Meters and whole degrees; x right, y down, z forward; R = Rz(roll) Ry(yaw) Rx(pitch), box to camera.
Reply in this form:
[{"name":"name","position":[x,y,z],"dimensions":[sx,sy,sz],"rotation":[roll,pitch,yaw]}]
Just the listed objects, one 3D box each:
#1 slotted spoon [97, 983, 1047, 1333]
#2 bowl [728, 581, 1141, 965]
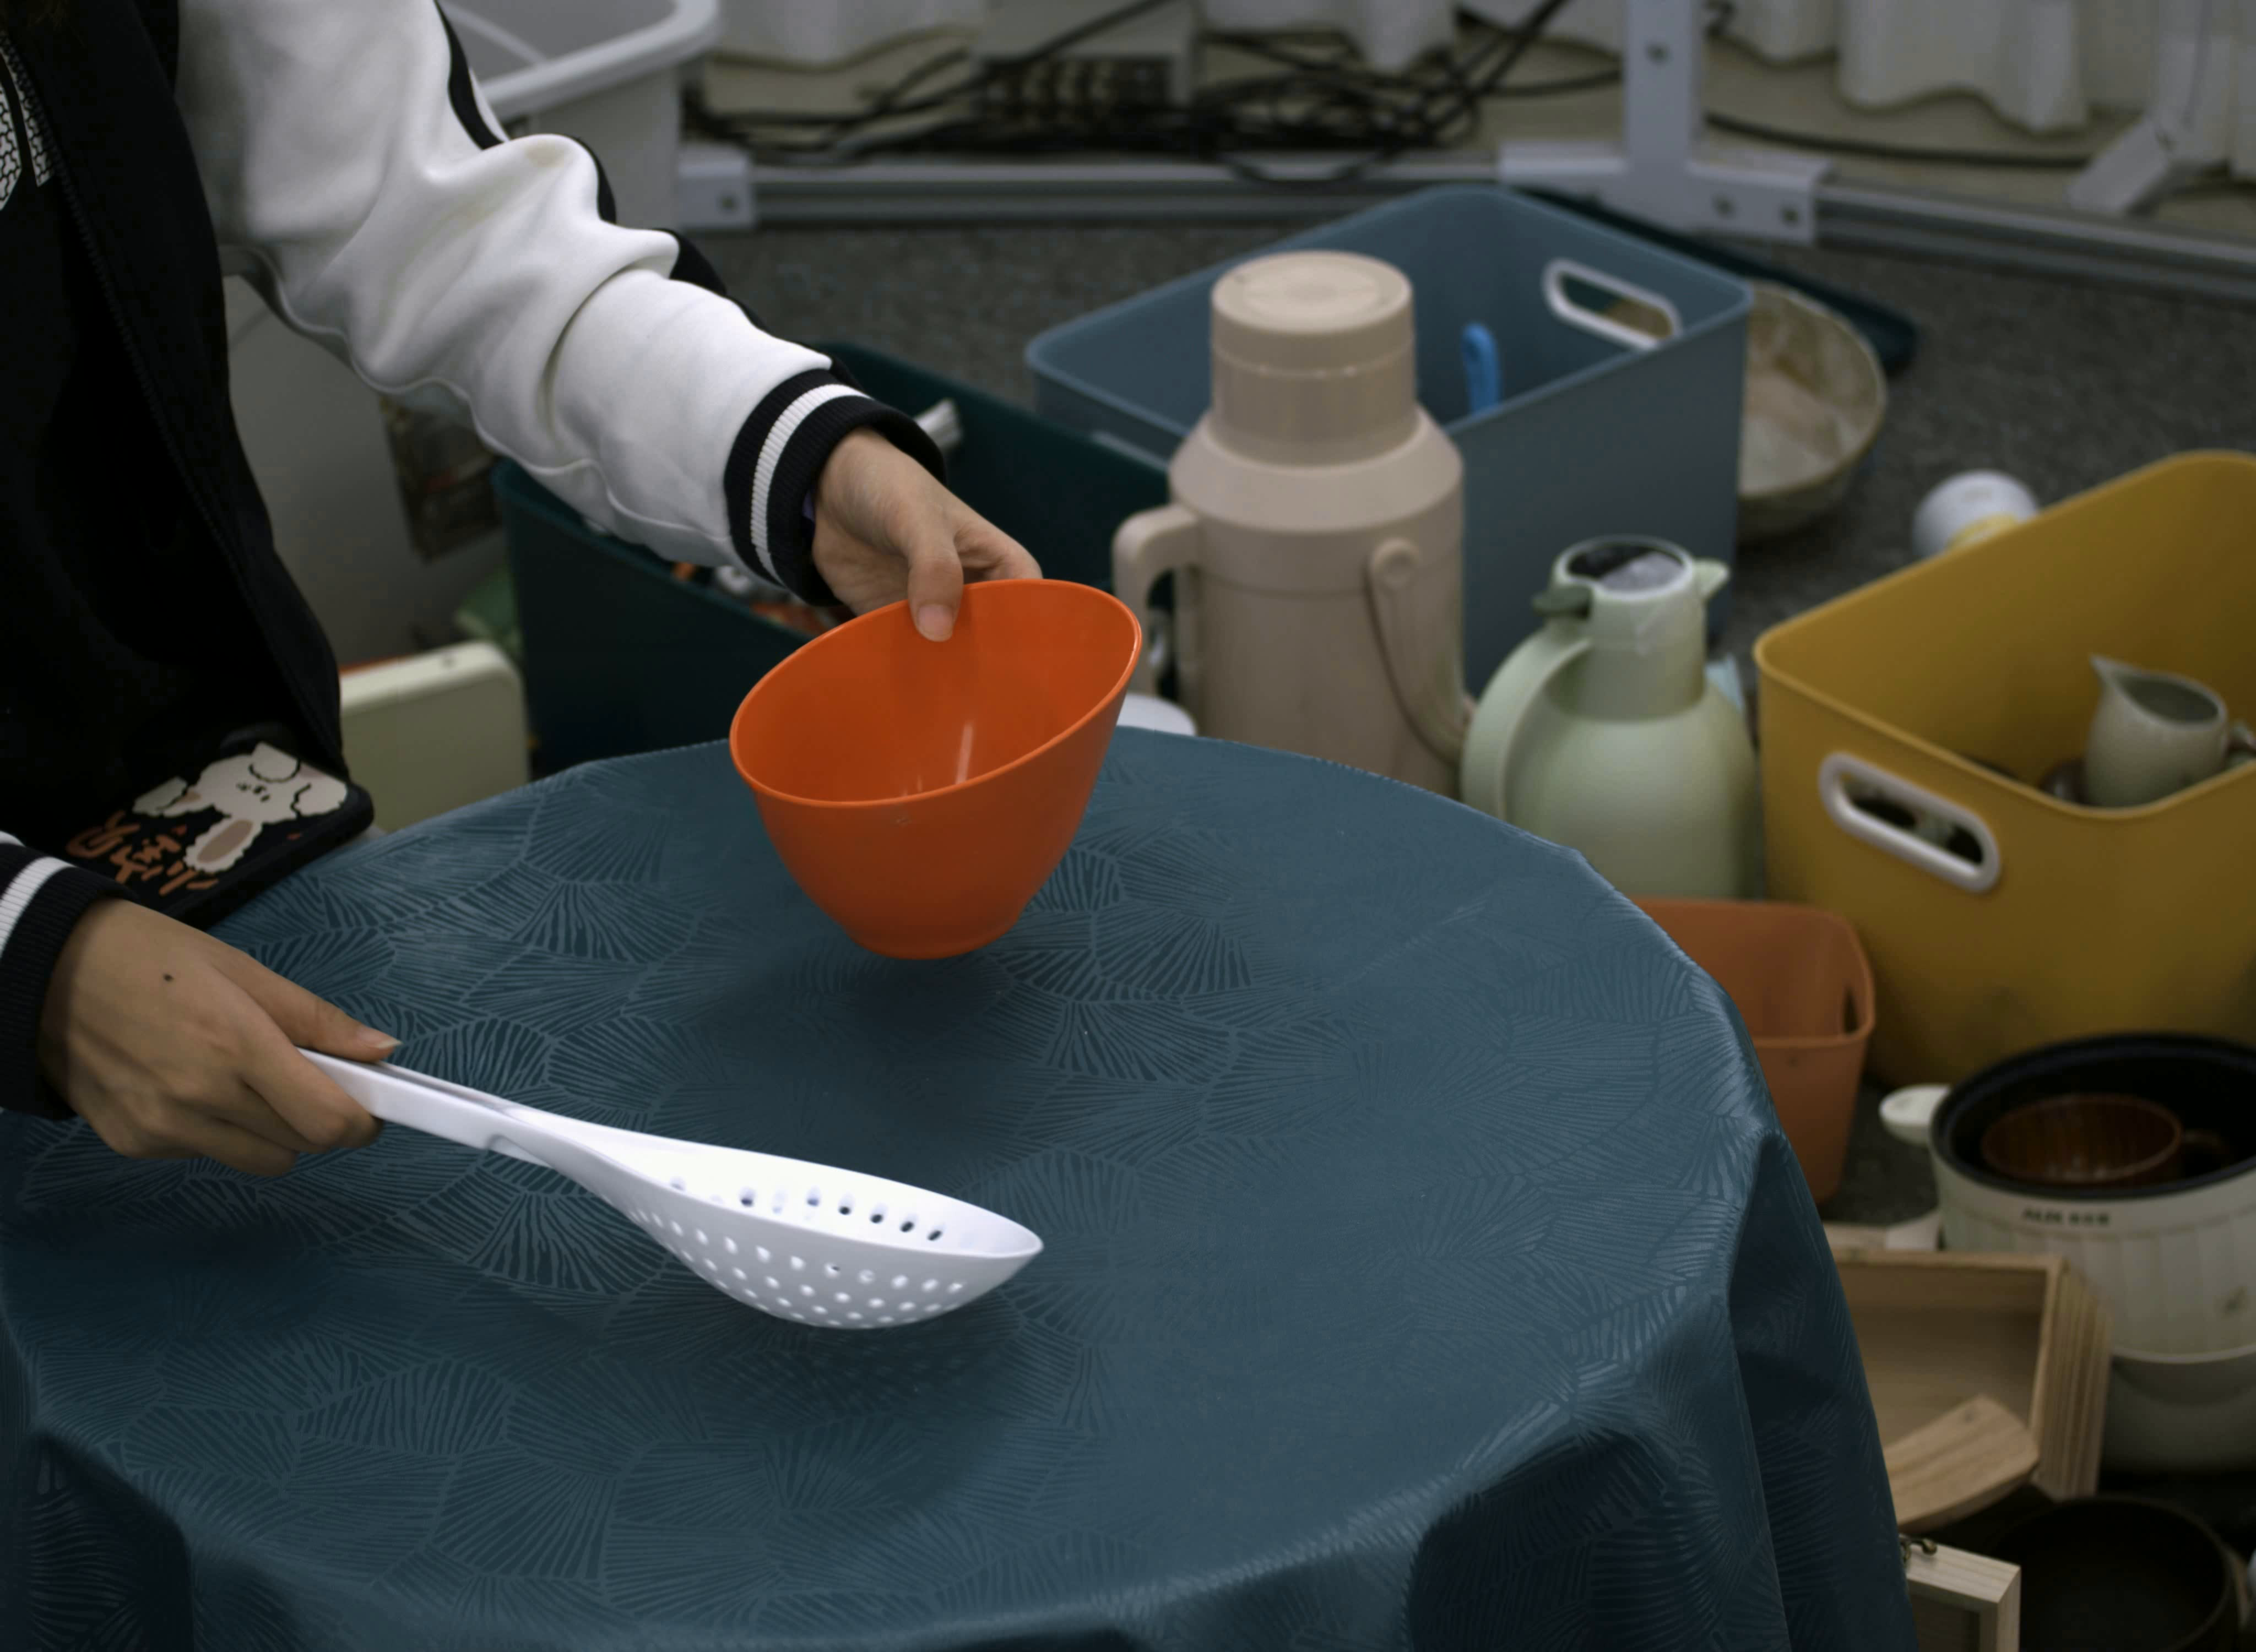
[{"name":"slotted spoon","position":[-0.187,0.101,1.808],"dimensions":[0.348,0.046,0.136],"rotation":[20,6,24]},{"name":"bowl","position":[-0.063,-0.011,1.960],"dimensions":[0.147,0.103,0.150],"rotation":[-5,32,4]}]
